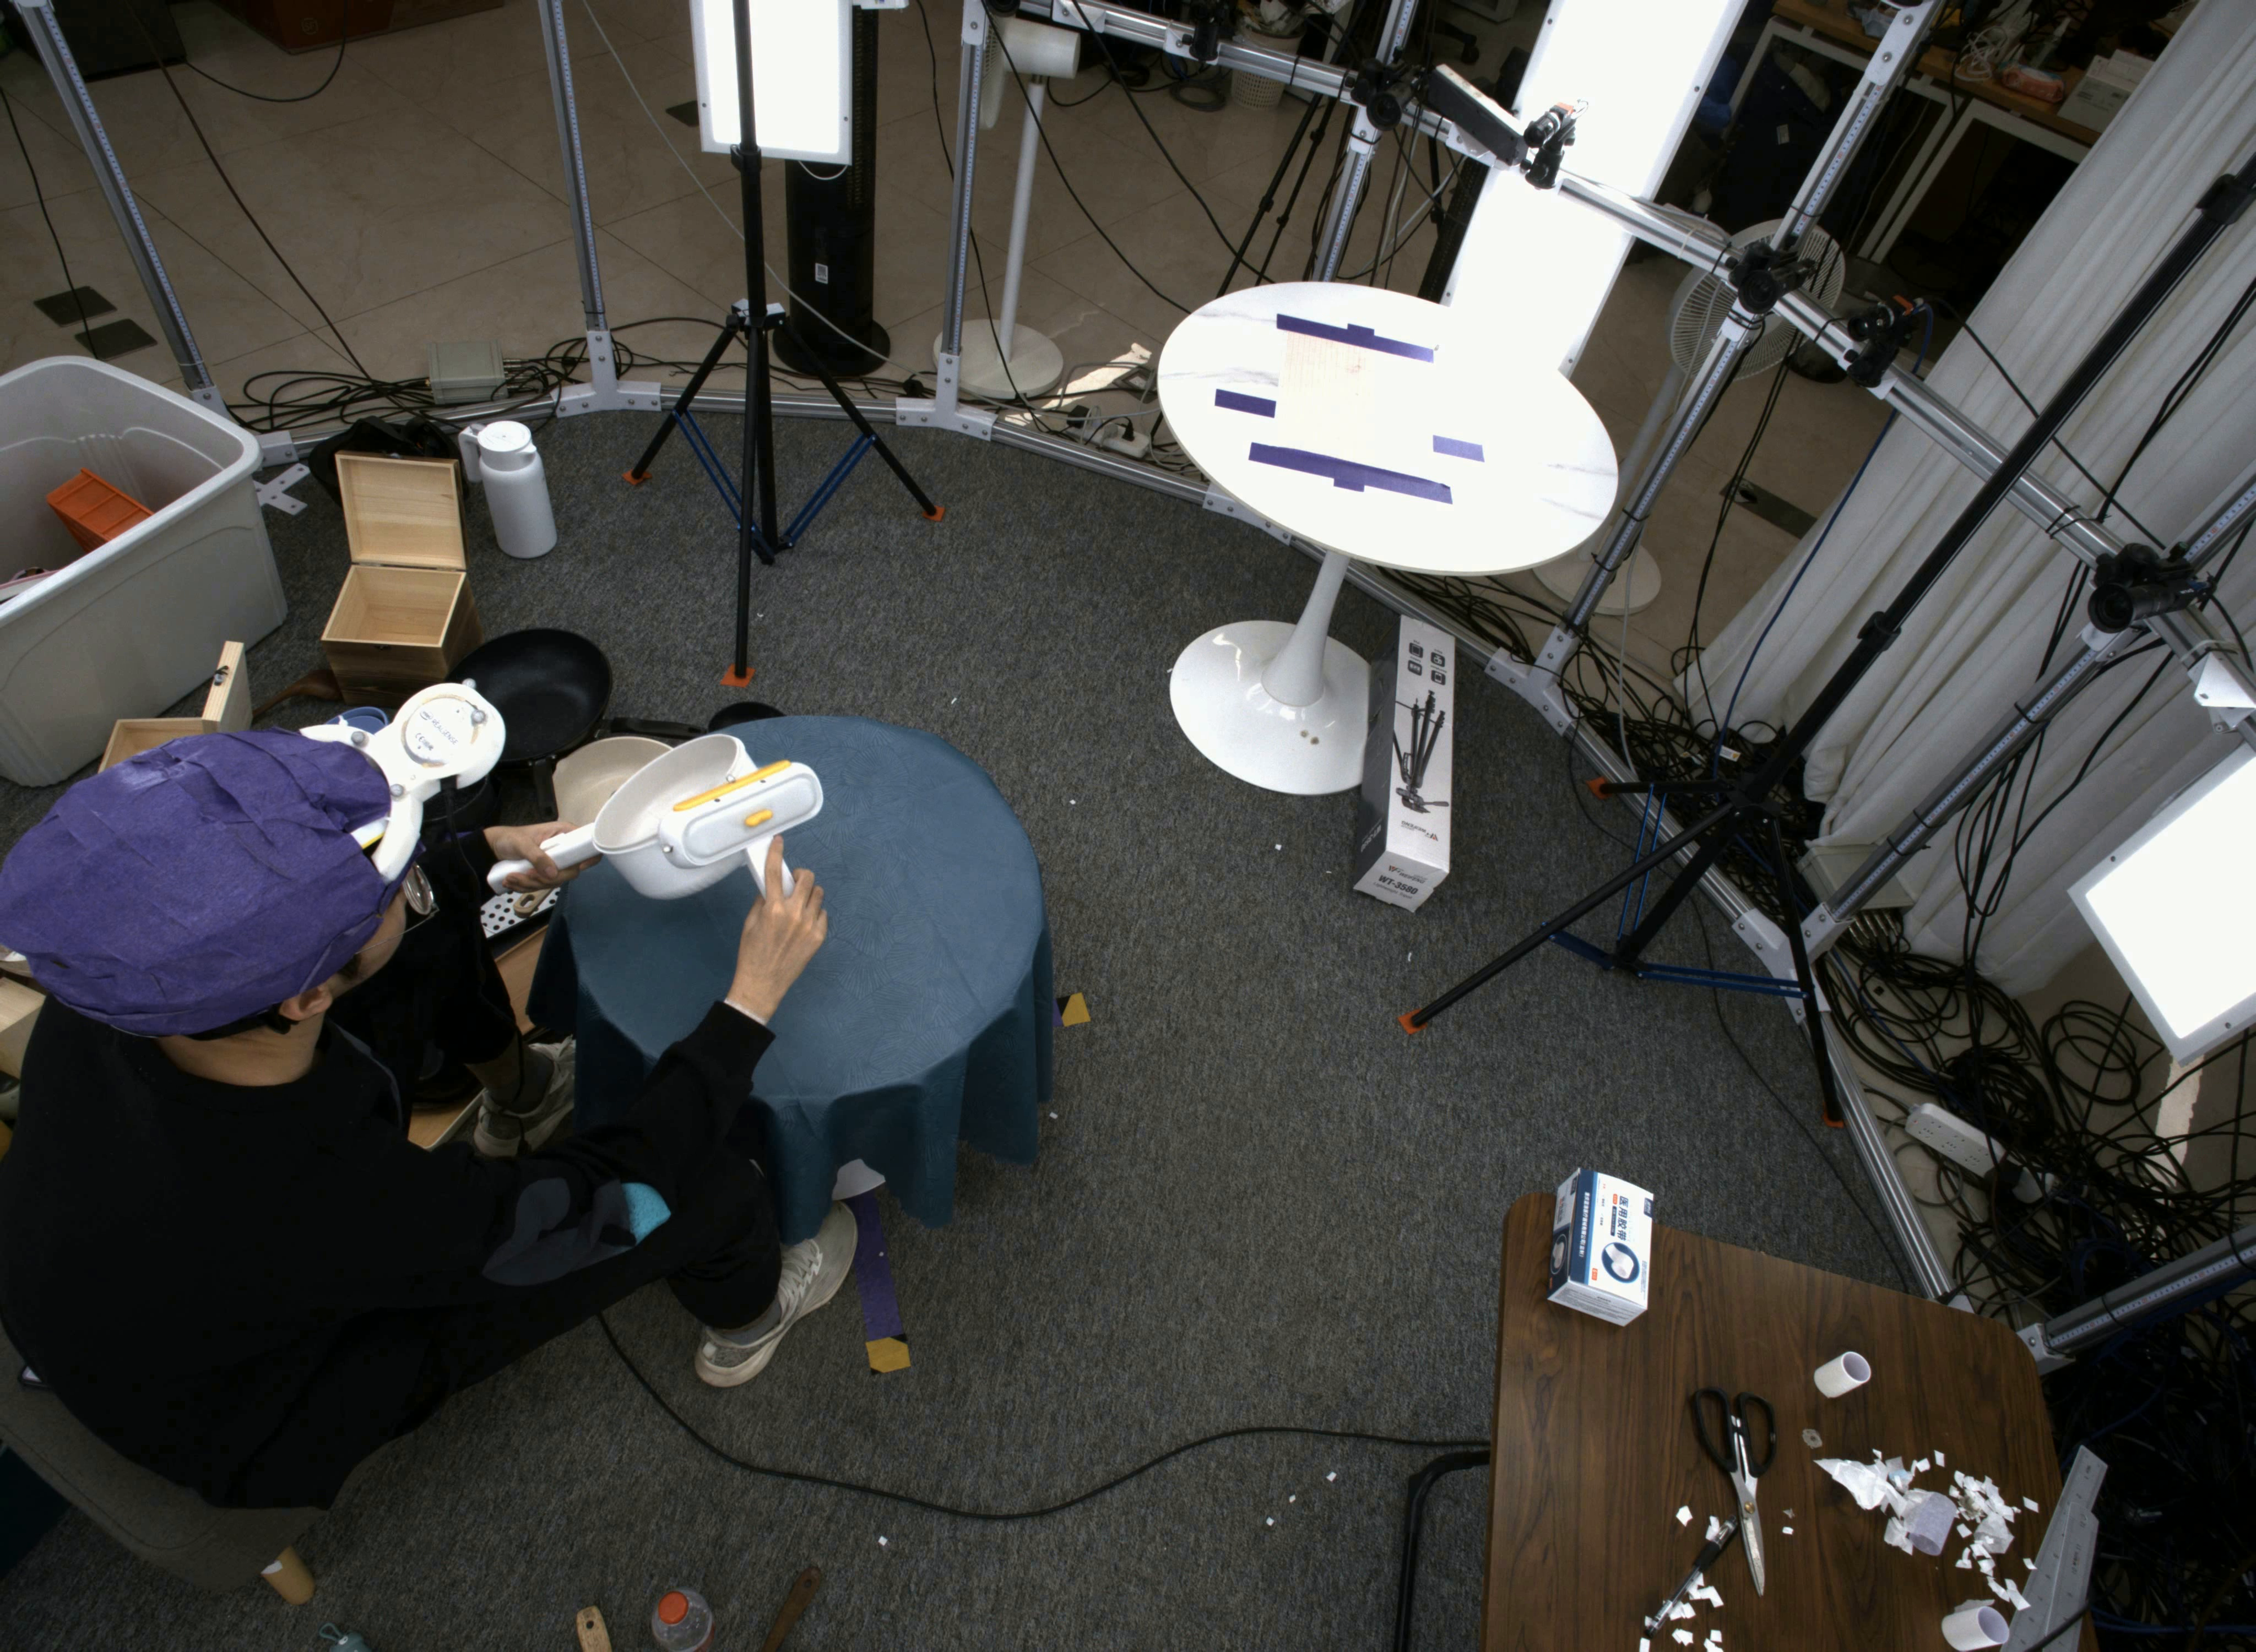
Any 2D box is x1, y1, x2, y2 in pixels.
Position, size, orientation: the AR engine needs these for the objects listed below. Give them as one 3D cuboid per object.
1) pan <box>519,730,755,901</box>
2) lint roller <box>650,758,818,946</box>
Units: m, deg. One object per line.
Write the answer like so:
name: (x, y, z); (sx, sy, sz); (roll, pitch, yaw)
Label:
pan: (-0.578, 0.020, 1.503); (0.350, 0.106, 0.196); (-22, 36, 10)
lint roller: (-0.400, 0.040, 1.409); (0.193, 0.072, 0.197); (-36, 112, -42)
